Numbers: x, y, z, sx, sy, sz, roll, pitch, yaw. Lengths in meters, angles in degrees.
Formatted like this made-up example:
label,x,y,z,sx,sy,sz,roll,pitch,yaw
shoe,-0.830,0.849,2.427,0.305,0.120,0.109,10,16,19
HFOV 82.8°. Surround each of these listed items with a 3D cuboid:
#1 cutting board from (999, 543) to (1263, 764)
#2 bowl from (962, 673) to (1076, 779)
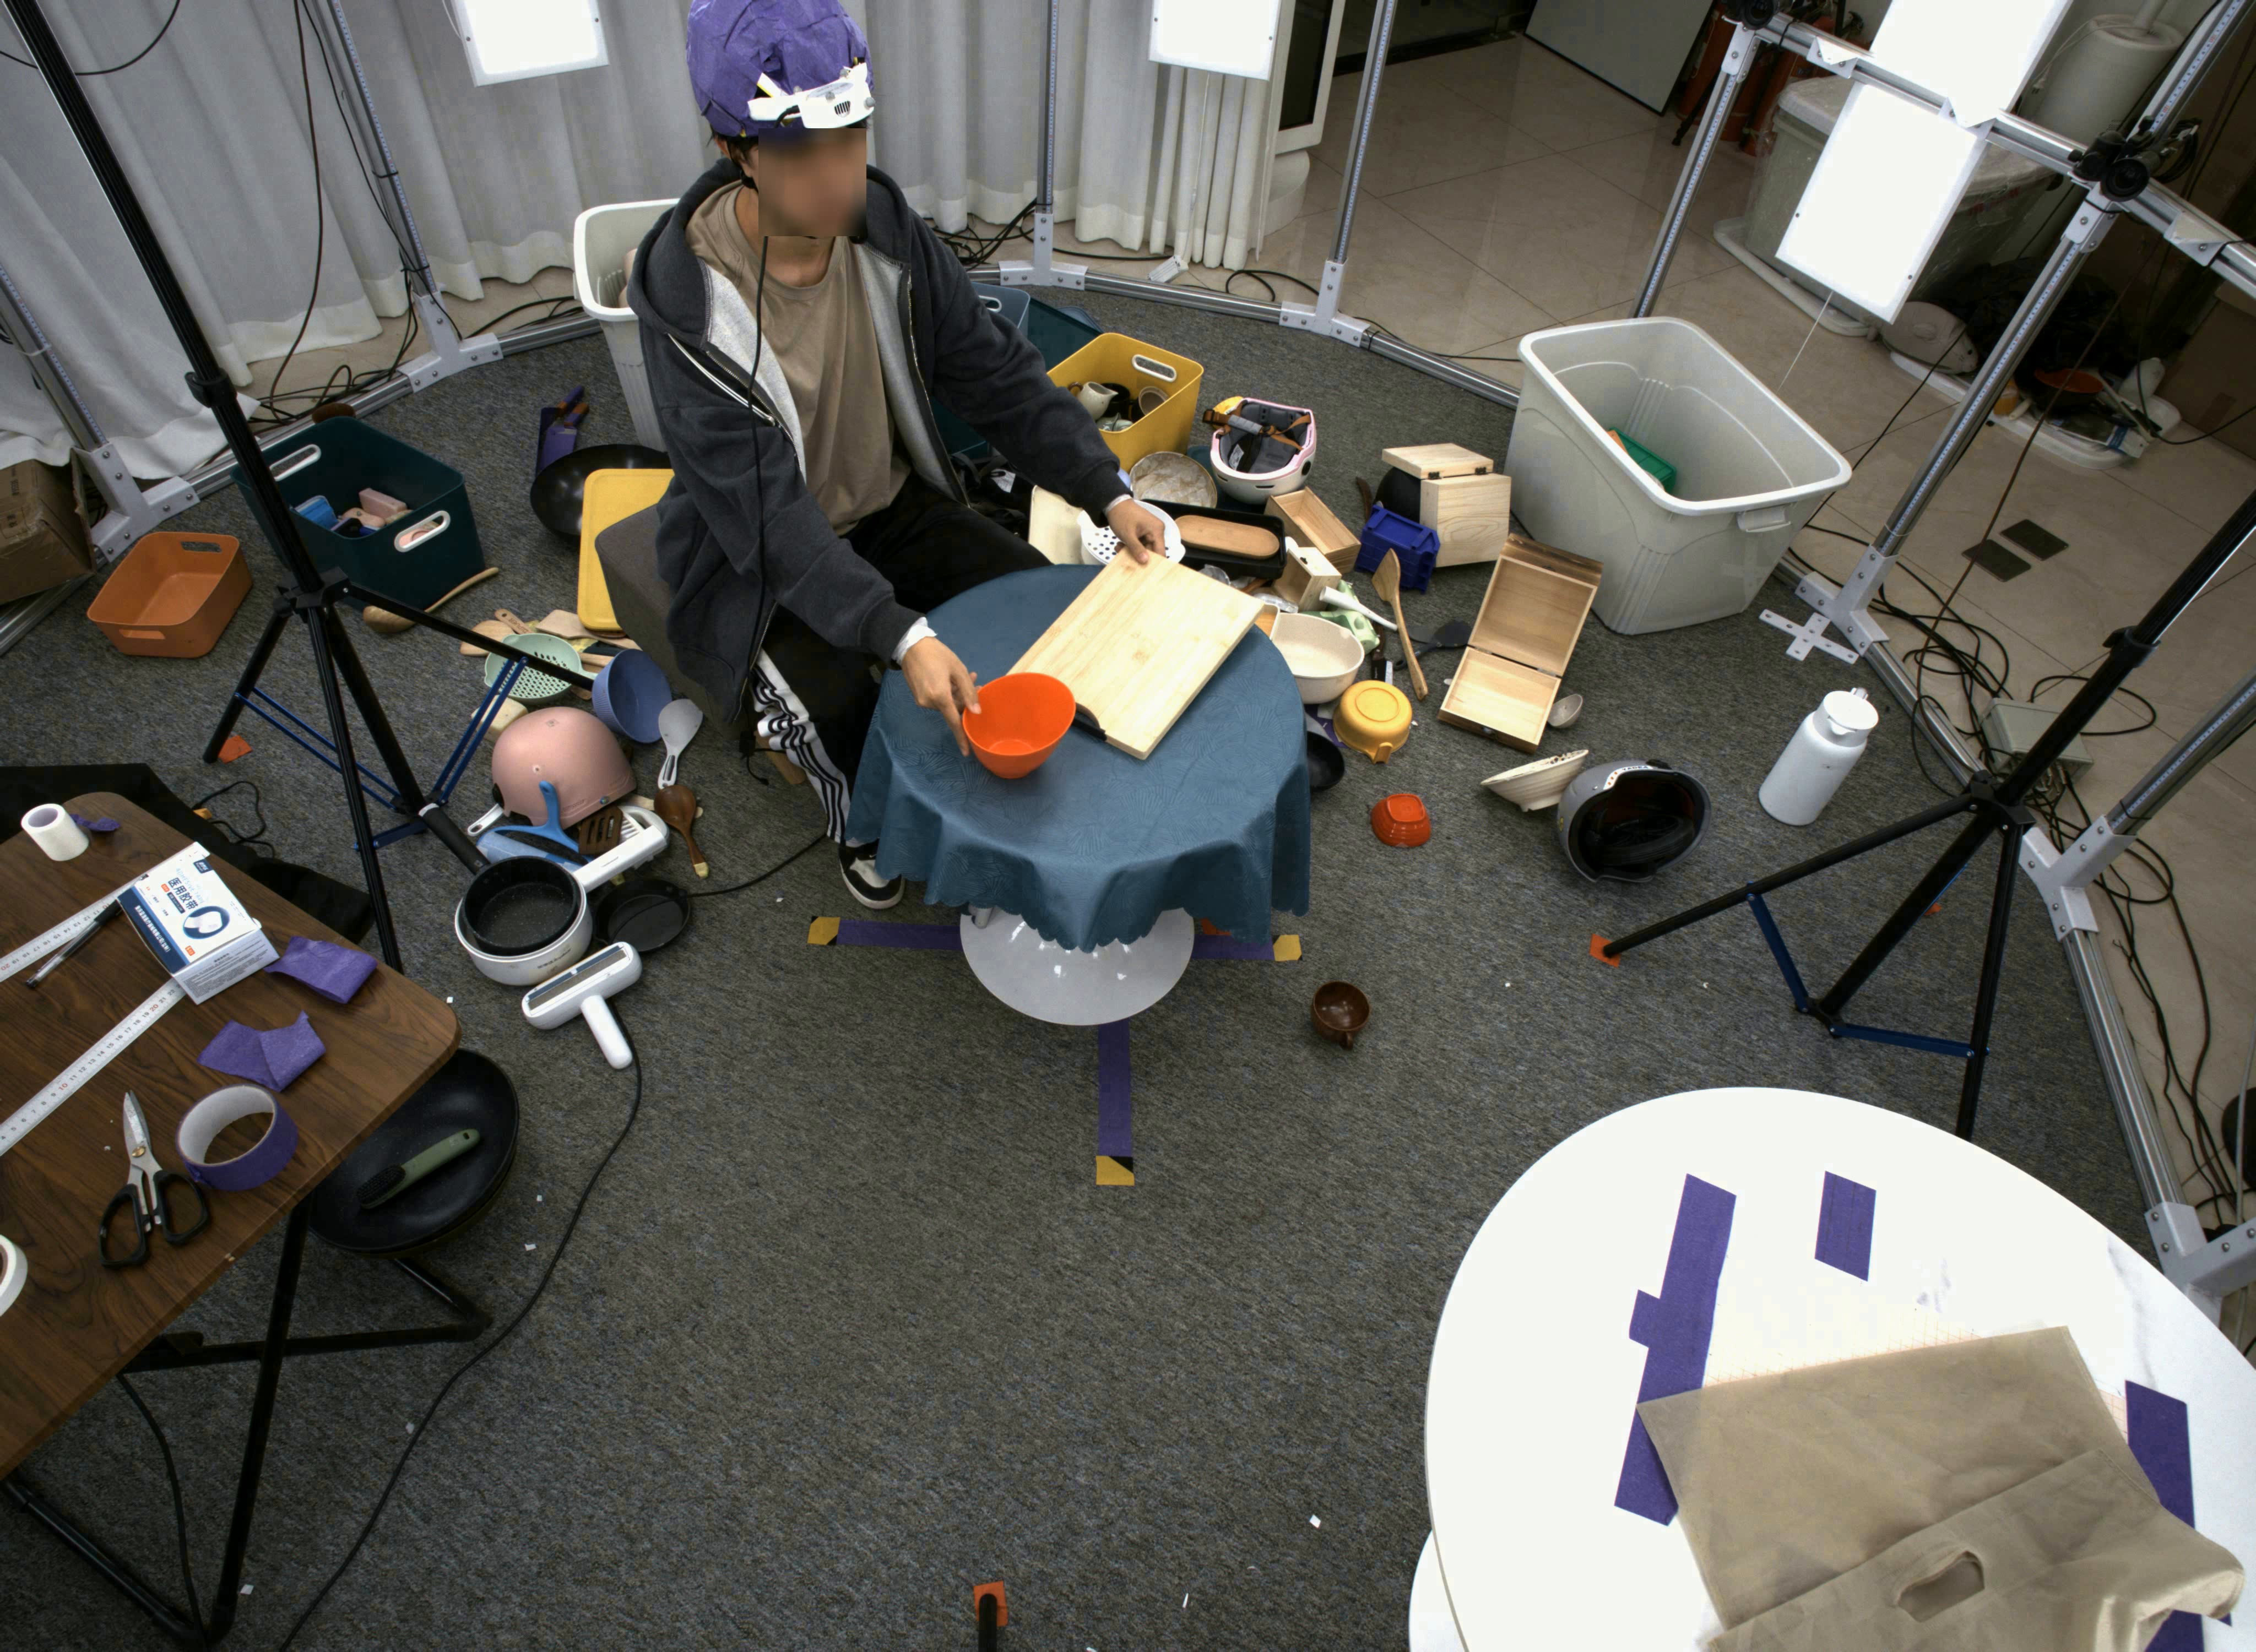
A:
label,x,y,z,sx,sy,sz,roll,pitch,yaw
cutting board,0.008,-0.259,1.862,0.253,0.023,0.354,26,57,19
bowl,-0.144,-0.120,1.695,0.148,0.102,0.152,2,50,-3
